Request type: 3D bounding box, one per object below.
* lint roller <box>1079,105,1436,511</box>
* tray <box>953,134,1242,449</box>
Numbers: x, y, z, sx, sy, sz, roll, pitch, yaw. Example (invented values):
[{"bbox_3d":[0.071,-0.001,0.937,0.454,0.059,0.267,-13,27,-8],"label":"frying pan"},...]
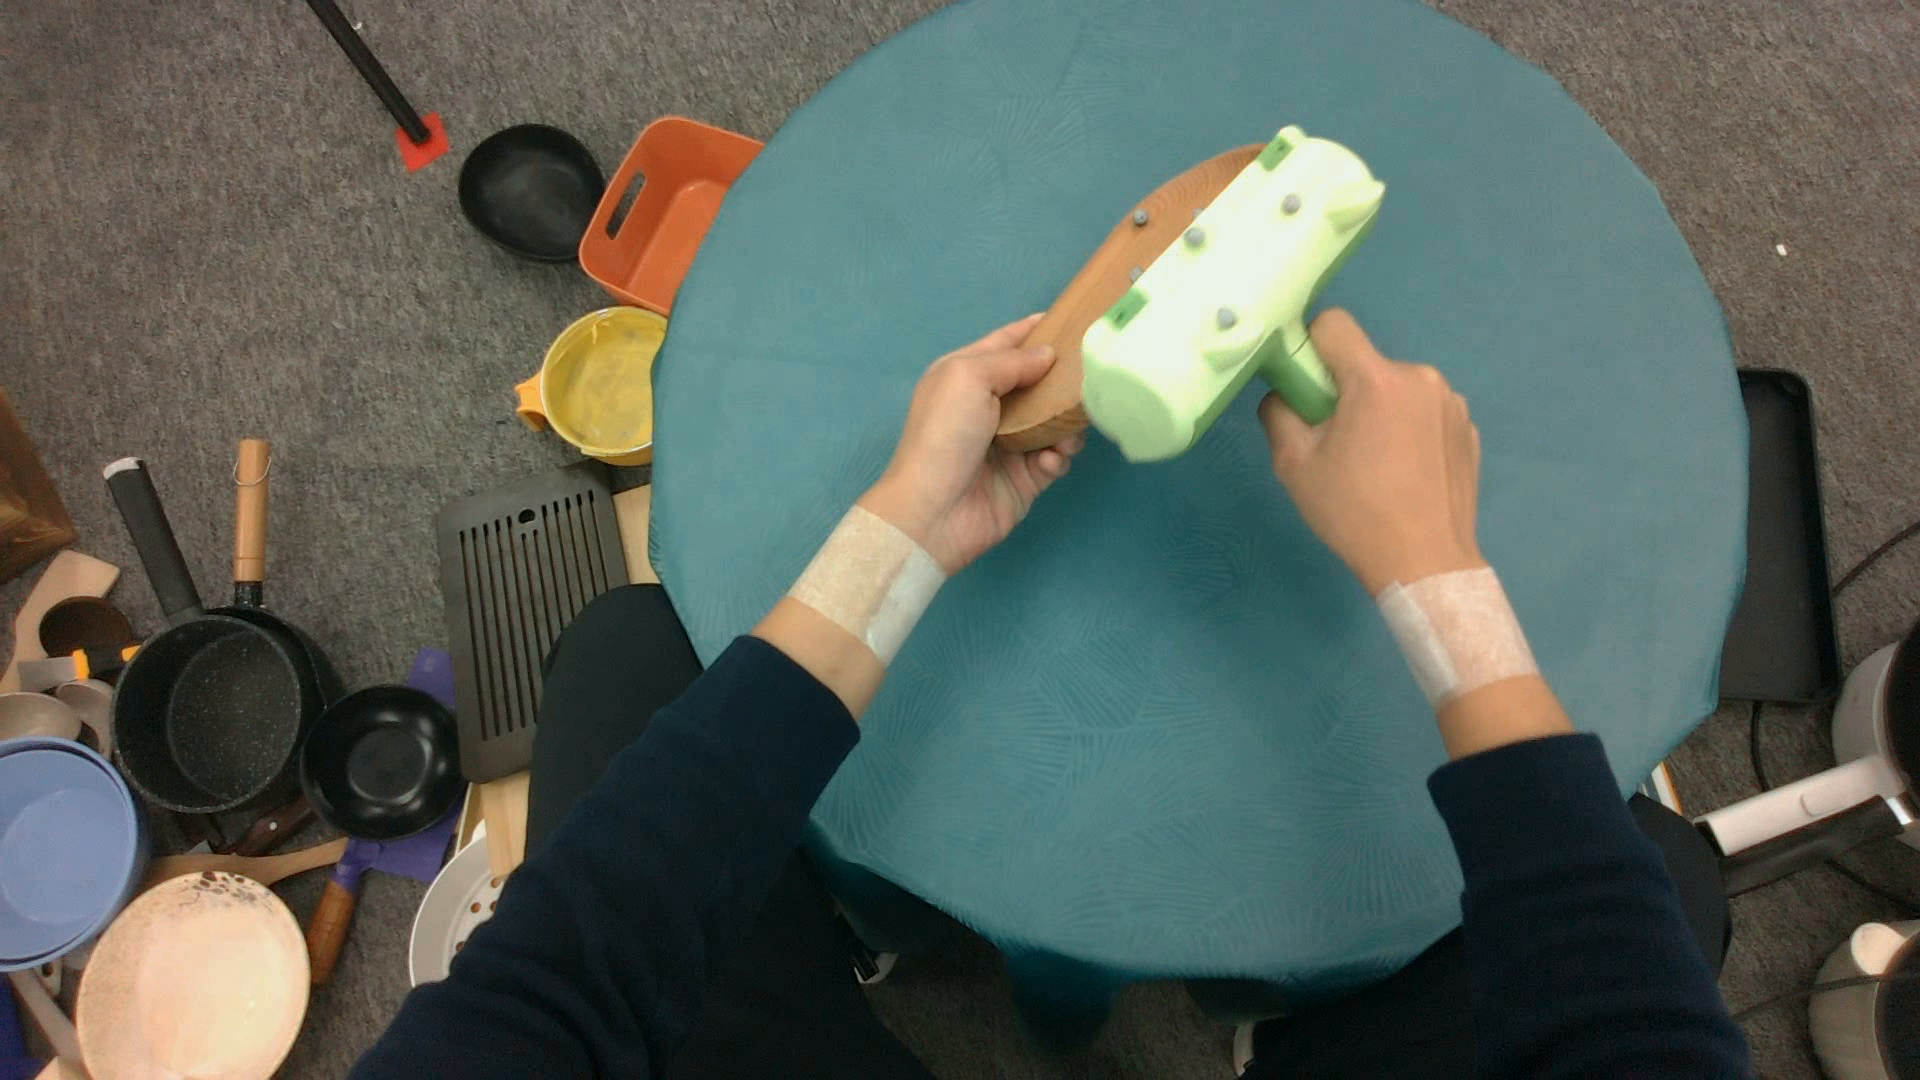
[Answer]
[{"bbox_3d":[0.165,-0.090,0.618,0.183,0.082,0.199,42,56,-2],"label":"lint roller"},{"bbox_3d":[0.074,-0.126,0.678,0.020,0.101,0.232,49,57,-24],"label":"tray"}]
